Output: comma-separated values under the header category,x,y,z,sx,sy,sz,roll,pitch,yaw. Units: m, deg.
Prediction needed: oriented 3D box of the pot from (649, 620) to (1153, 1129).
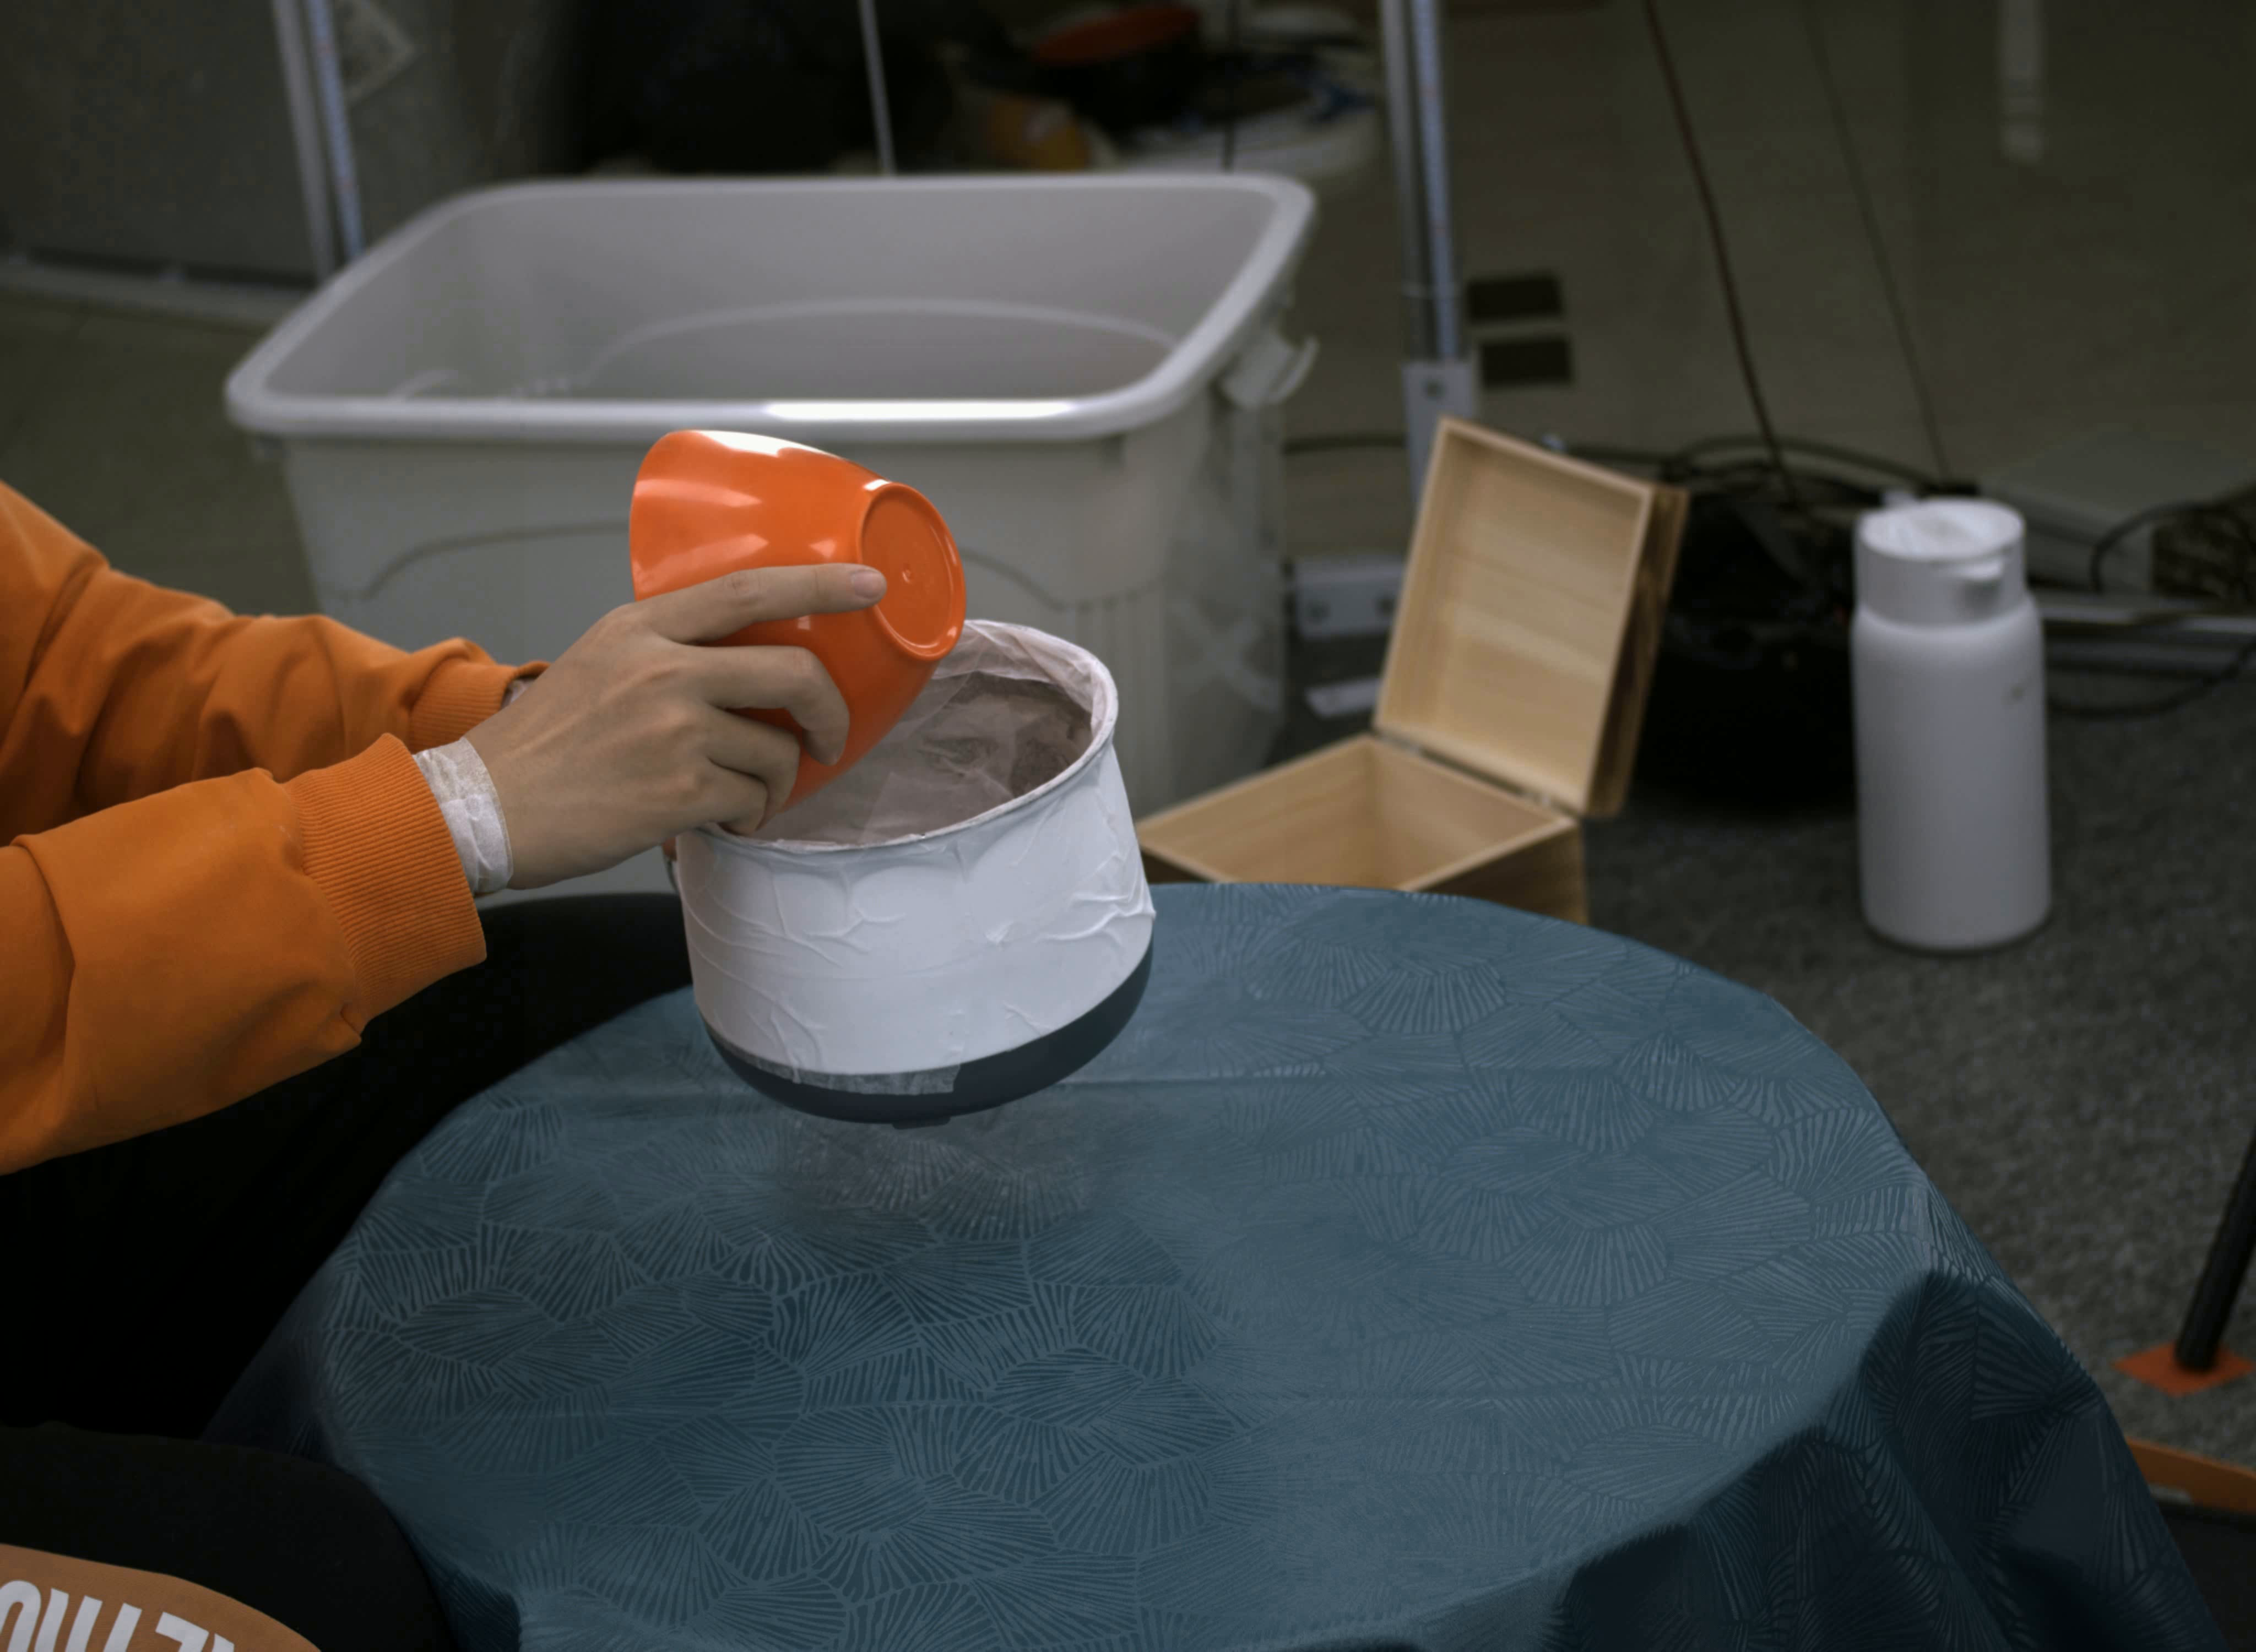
category,x,y,z,sx,sy,sz,roll,pitch,yaw
pot,-0.101,0.012,2.152,0.177,0.139,0.231,-30,36,-34

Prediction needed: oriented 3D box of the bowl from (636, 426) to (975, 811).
category,x,y,z,sx,sy,sz,roll,pitch,yaw
bowl,-0.111,-0.086,2.080,0.105,0.149,0.146,-13,19,30
